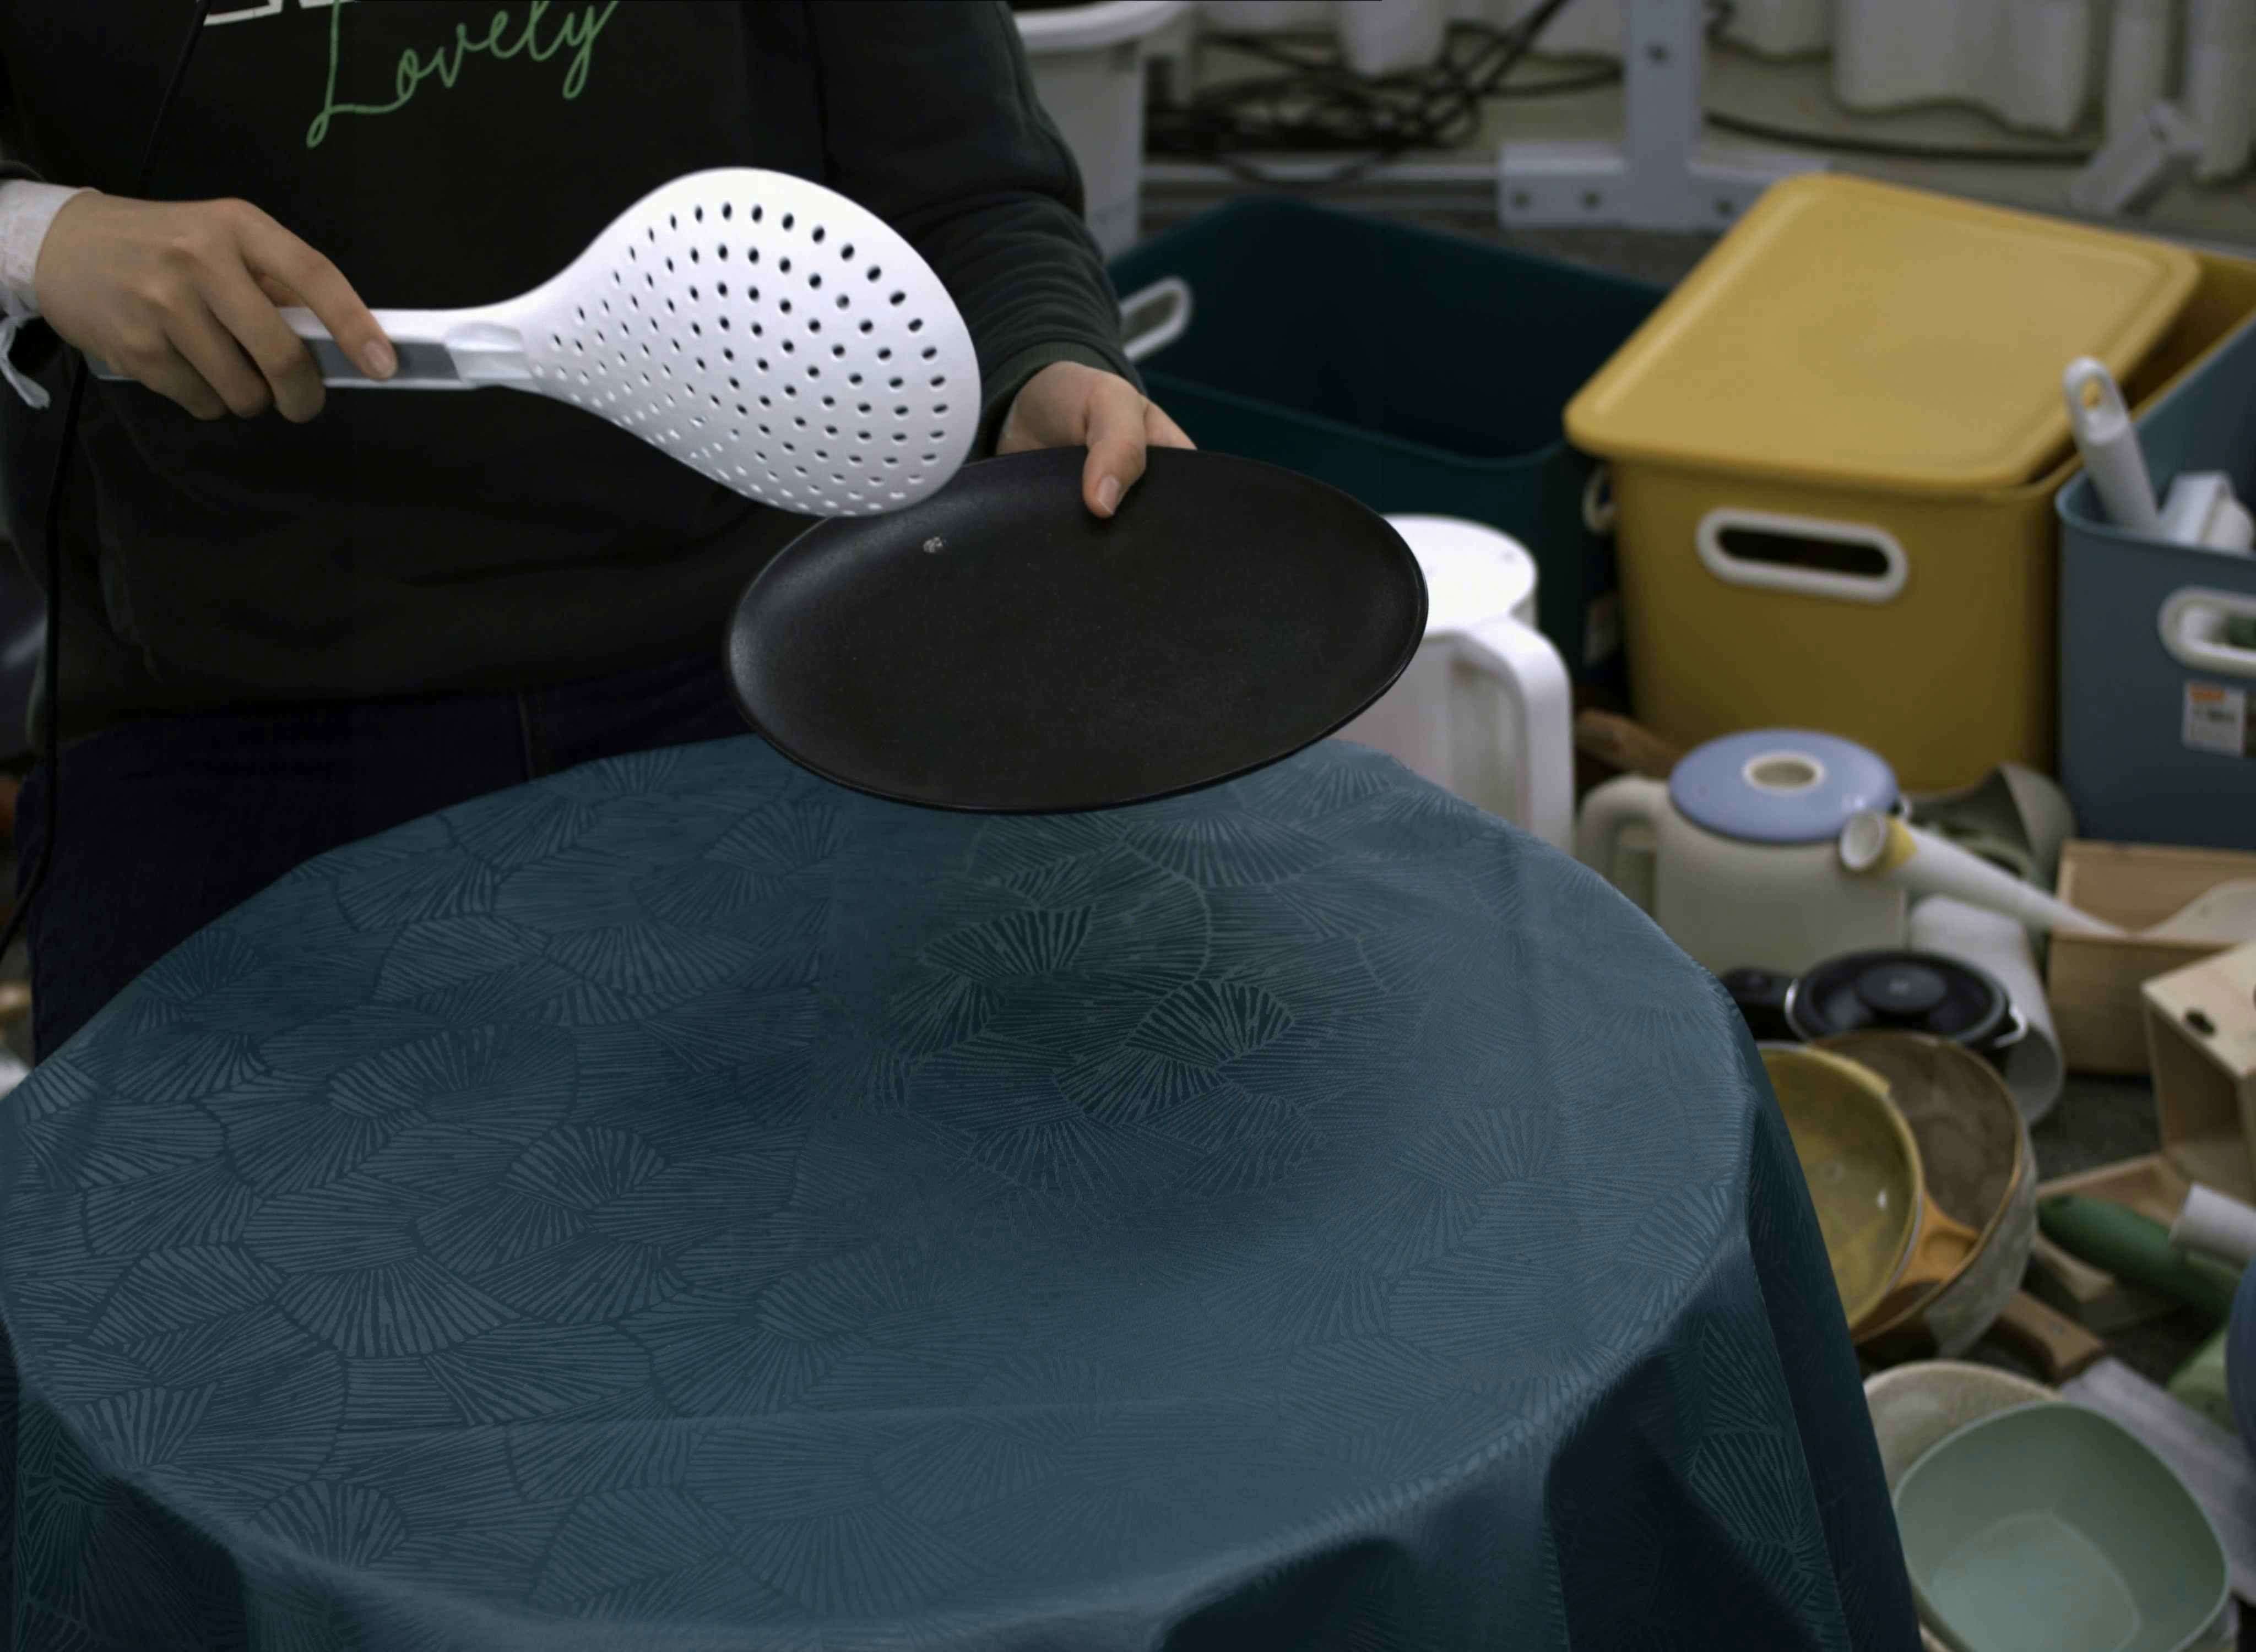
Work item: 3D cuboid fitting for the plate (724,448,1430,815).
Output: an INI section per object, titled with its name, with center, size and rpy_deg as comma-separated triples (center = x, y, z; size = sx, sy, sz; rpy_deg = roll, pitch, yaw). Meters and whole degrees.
[plate]
center = -0.017, -0.063, 1.927
size = 0.243, 0.023, 0.248
rpy_deg = -4, 31, 3

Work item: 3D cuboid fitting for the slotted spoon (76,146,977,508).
[slotted spoon]
center = -0.211, -0.164, 1.907
size = 0.347, 0.134, 0.046
rpy_deg = 5, 36, 30
